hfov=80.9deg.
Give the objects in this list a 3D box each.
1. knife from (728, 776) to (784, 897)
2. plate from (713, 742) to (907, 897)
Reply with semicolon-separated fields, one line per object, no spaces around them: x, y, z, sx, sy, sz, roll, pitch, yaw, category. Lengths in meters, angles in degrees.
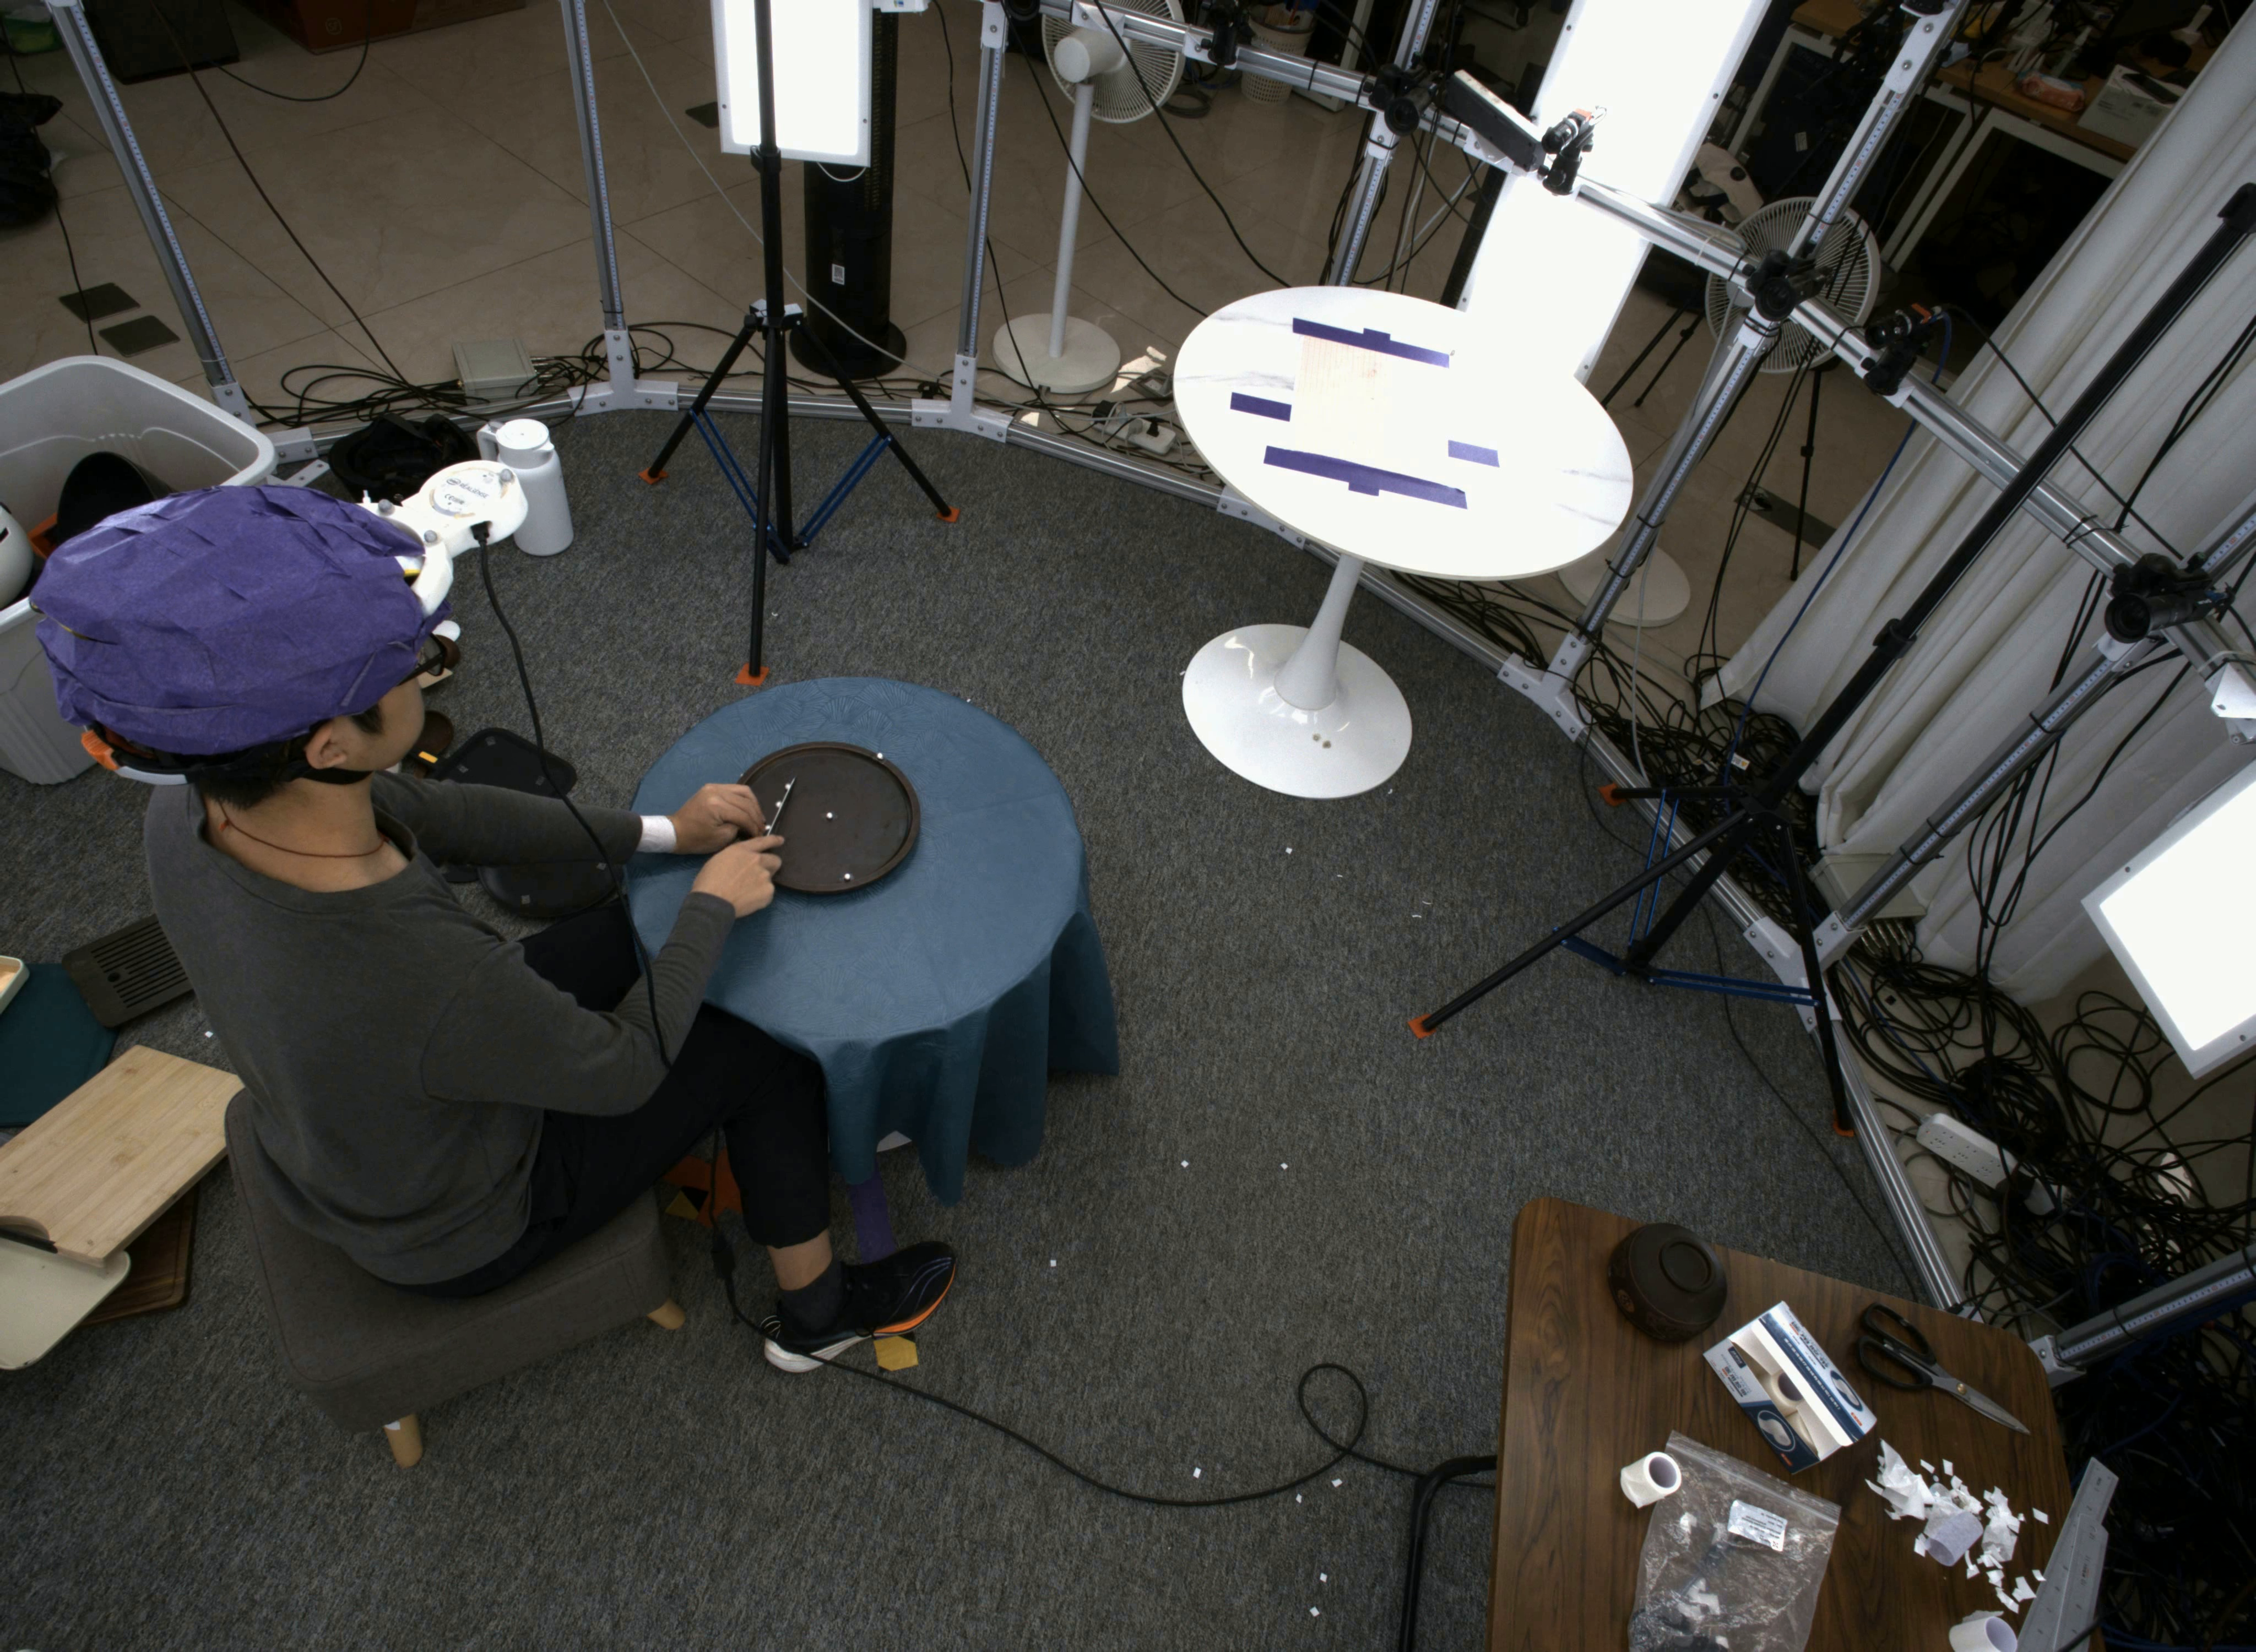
-0.476;0.004;1.668;0.016;0.025;0.233;4;40;2;knife
-0.423;-0.010;1.729;0.254;0.029;0.250;8;51;-9;plate
